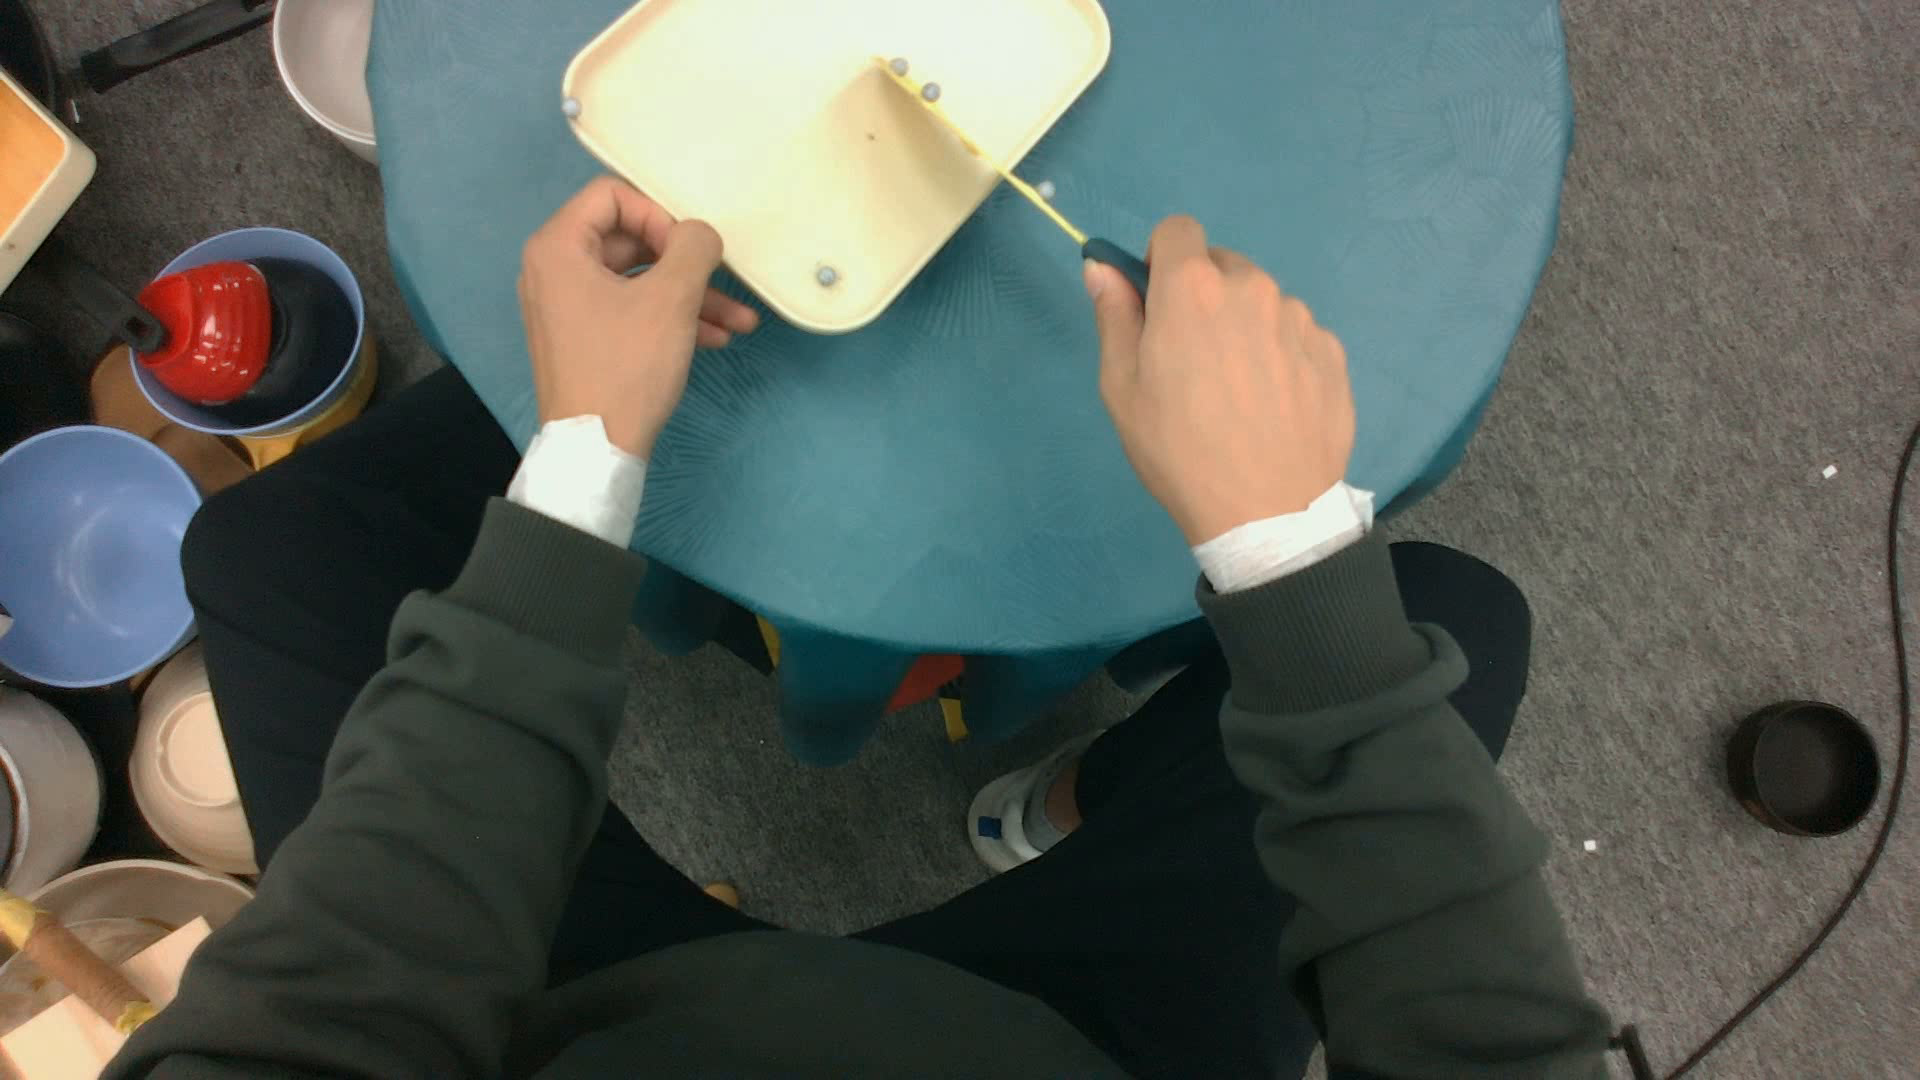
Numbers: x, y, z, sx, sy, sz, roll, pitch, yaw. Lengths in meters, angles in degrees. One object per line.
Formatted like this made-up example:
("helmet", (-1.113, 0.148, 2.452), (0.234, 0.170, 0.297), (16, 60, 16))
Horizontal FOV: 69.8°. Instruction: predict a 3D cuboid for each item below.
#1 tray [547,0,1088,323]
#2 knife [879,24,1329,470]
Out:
("tray", (-0.059, -0.223, 0.643), (0.171, 0.017, 0.240), (40, 67, -5))
("knife", (0.055, -0.136, 0.597), (0.027, 0.081, 0.290), (-48, 70, 19))
